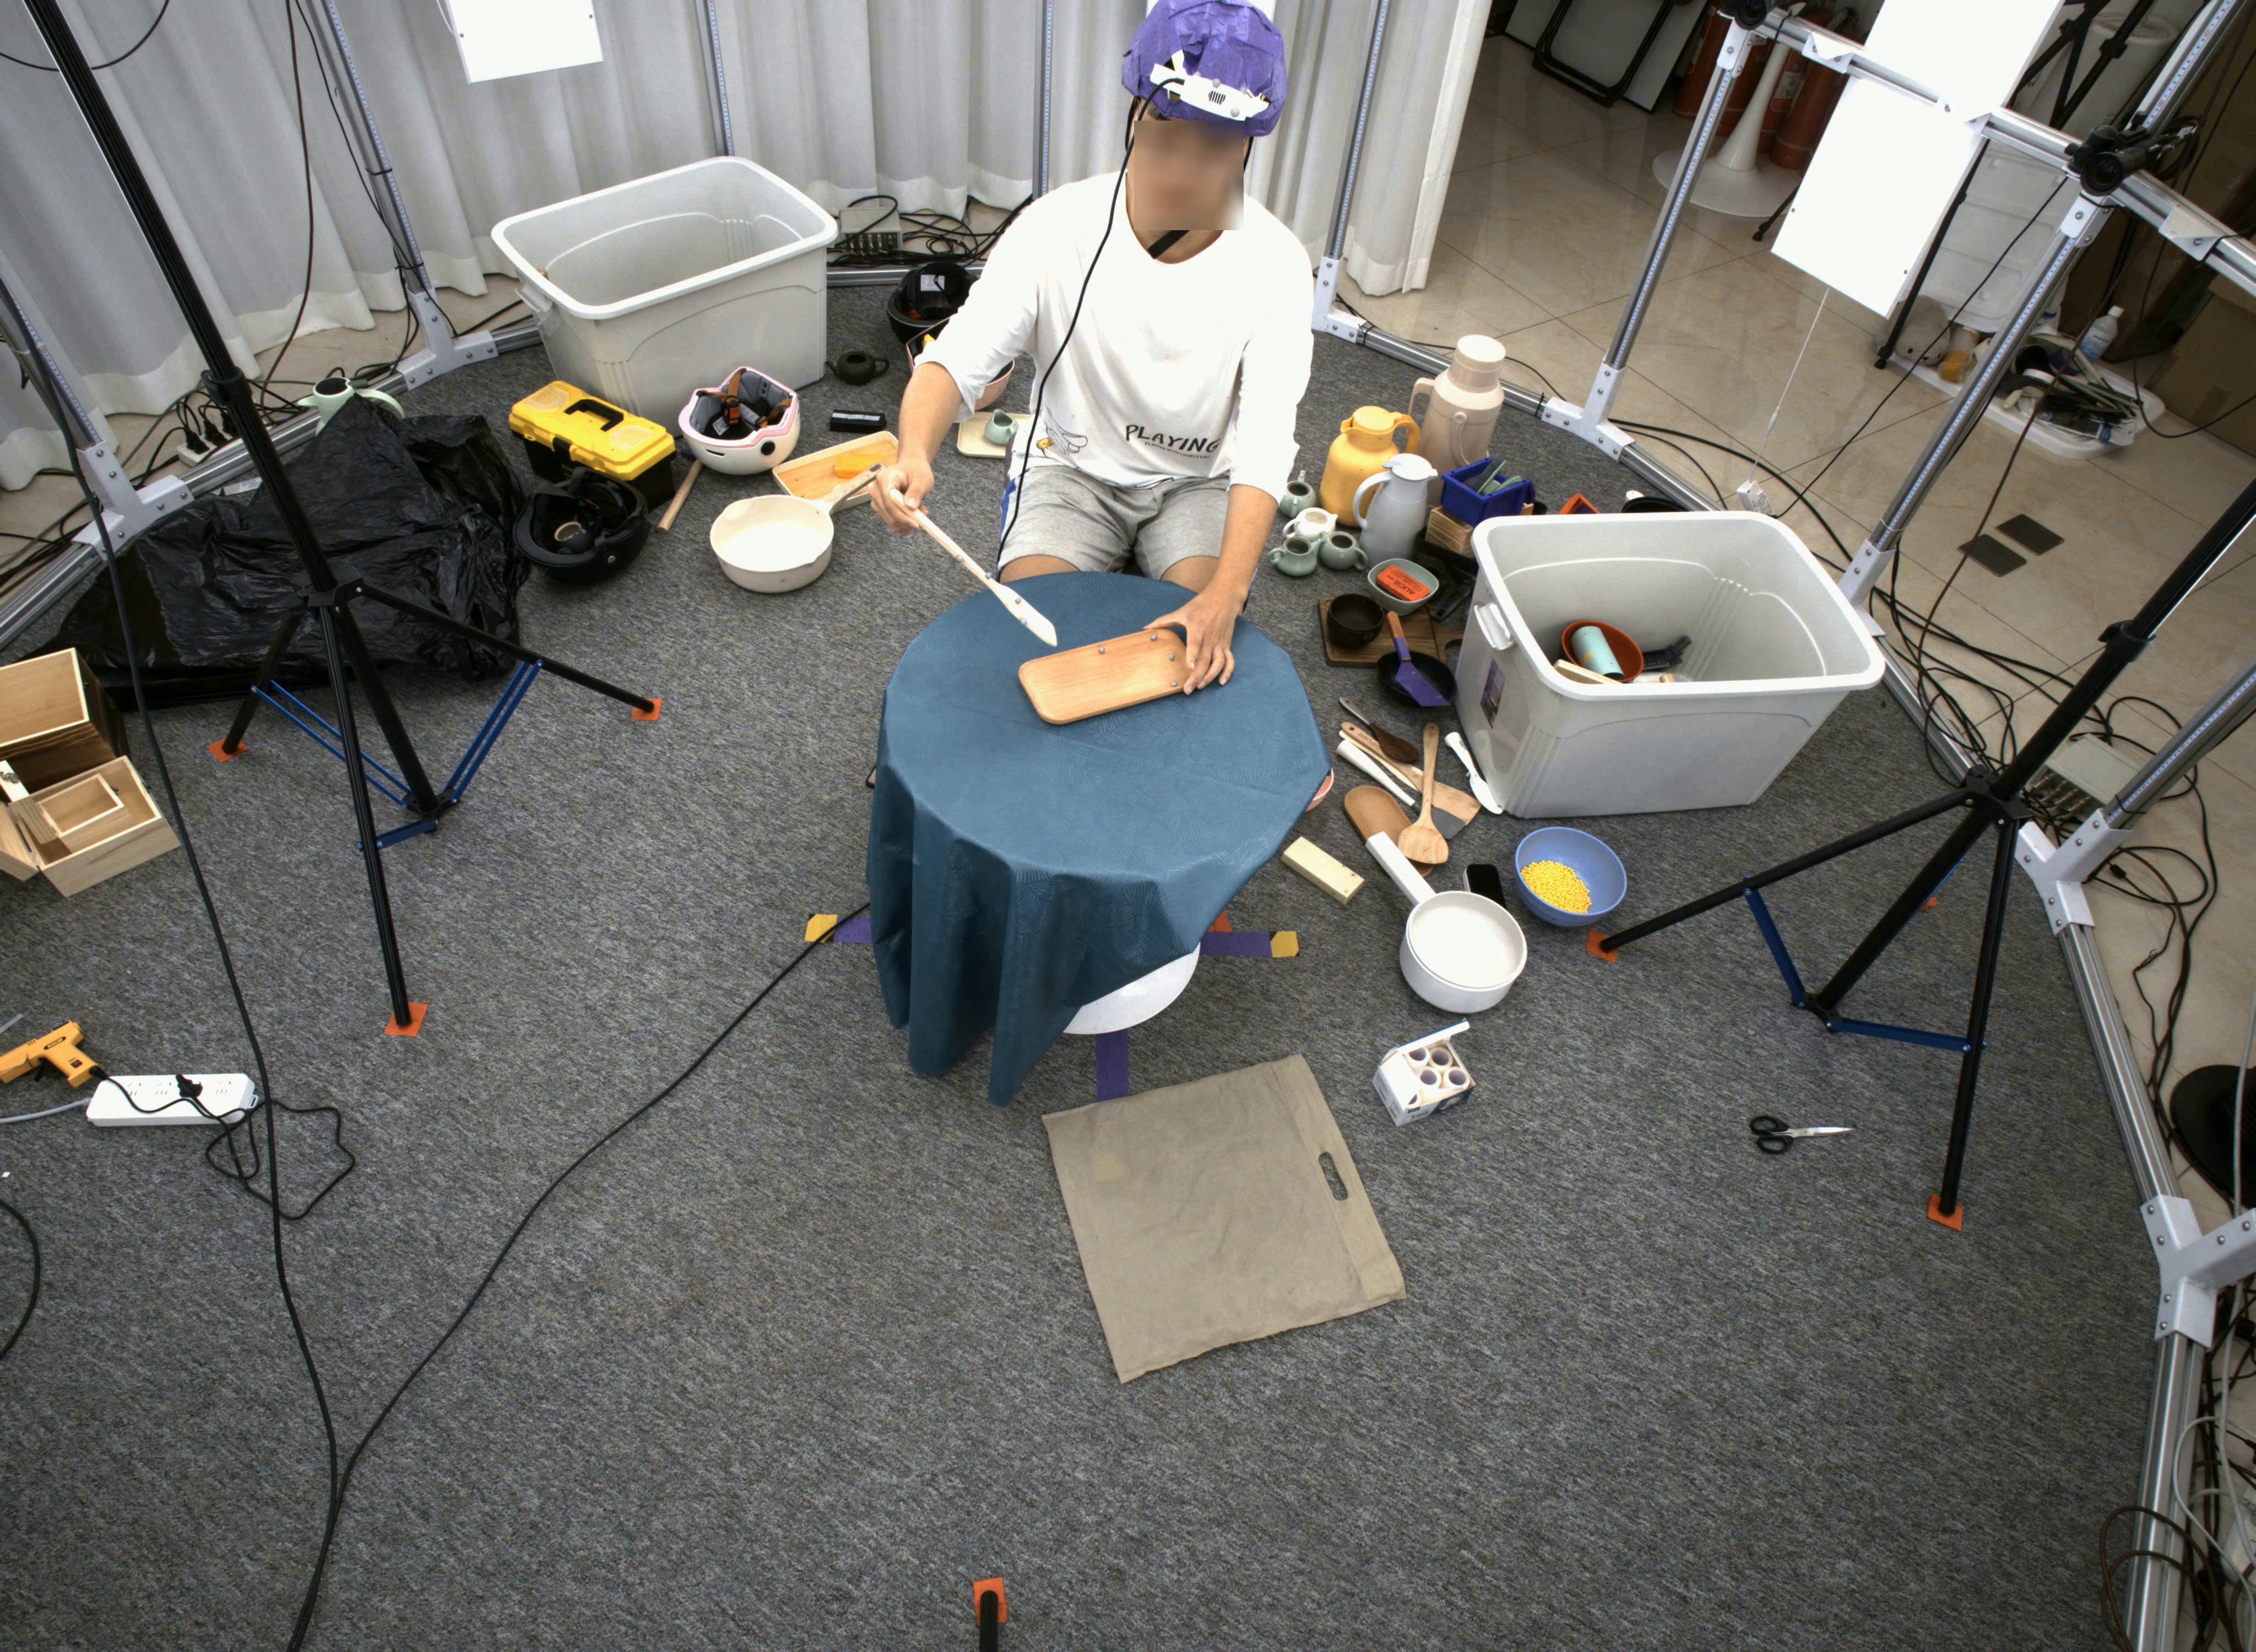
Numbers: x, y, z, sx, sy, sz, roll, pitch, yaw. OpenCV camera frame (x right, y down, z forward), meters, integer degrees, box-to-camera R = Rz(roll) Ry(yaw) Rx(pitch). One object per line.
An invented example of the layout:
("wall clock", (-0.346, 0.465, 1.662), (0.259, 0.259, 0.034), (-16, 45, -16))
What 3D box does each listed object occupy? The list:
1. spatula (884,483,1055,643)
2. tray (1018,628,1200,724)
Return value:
("spatula", (-0.201, -0.339, 1.668), (0.288, 0.010, 0.074), (39, 21, -27))
("tray", (-0.027, -0.216, 1.841), (0.251, 0.022, 0.133), (-17, 50, -16))
